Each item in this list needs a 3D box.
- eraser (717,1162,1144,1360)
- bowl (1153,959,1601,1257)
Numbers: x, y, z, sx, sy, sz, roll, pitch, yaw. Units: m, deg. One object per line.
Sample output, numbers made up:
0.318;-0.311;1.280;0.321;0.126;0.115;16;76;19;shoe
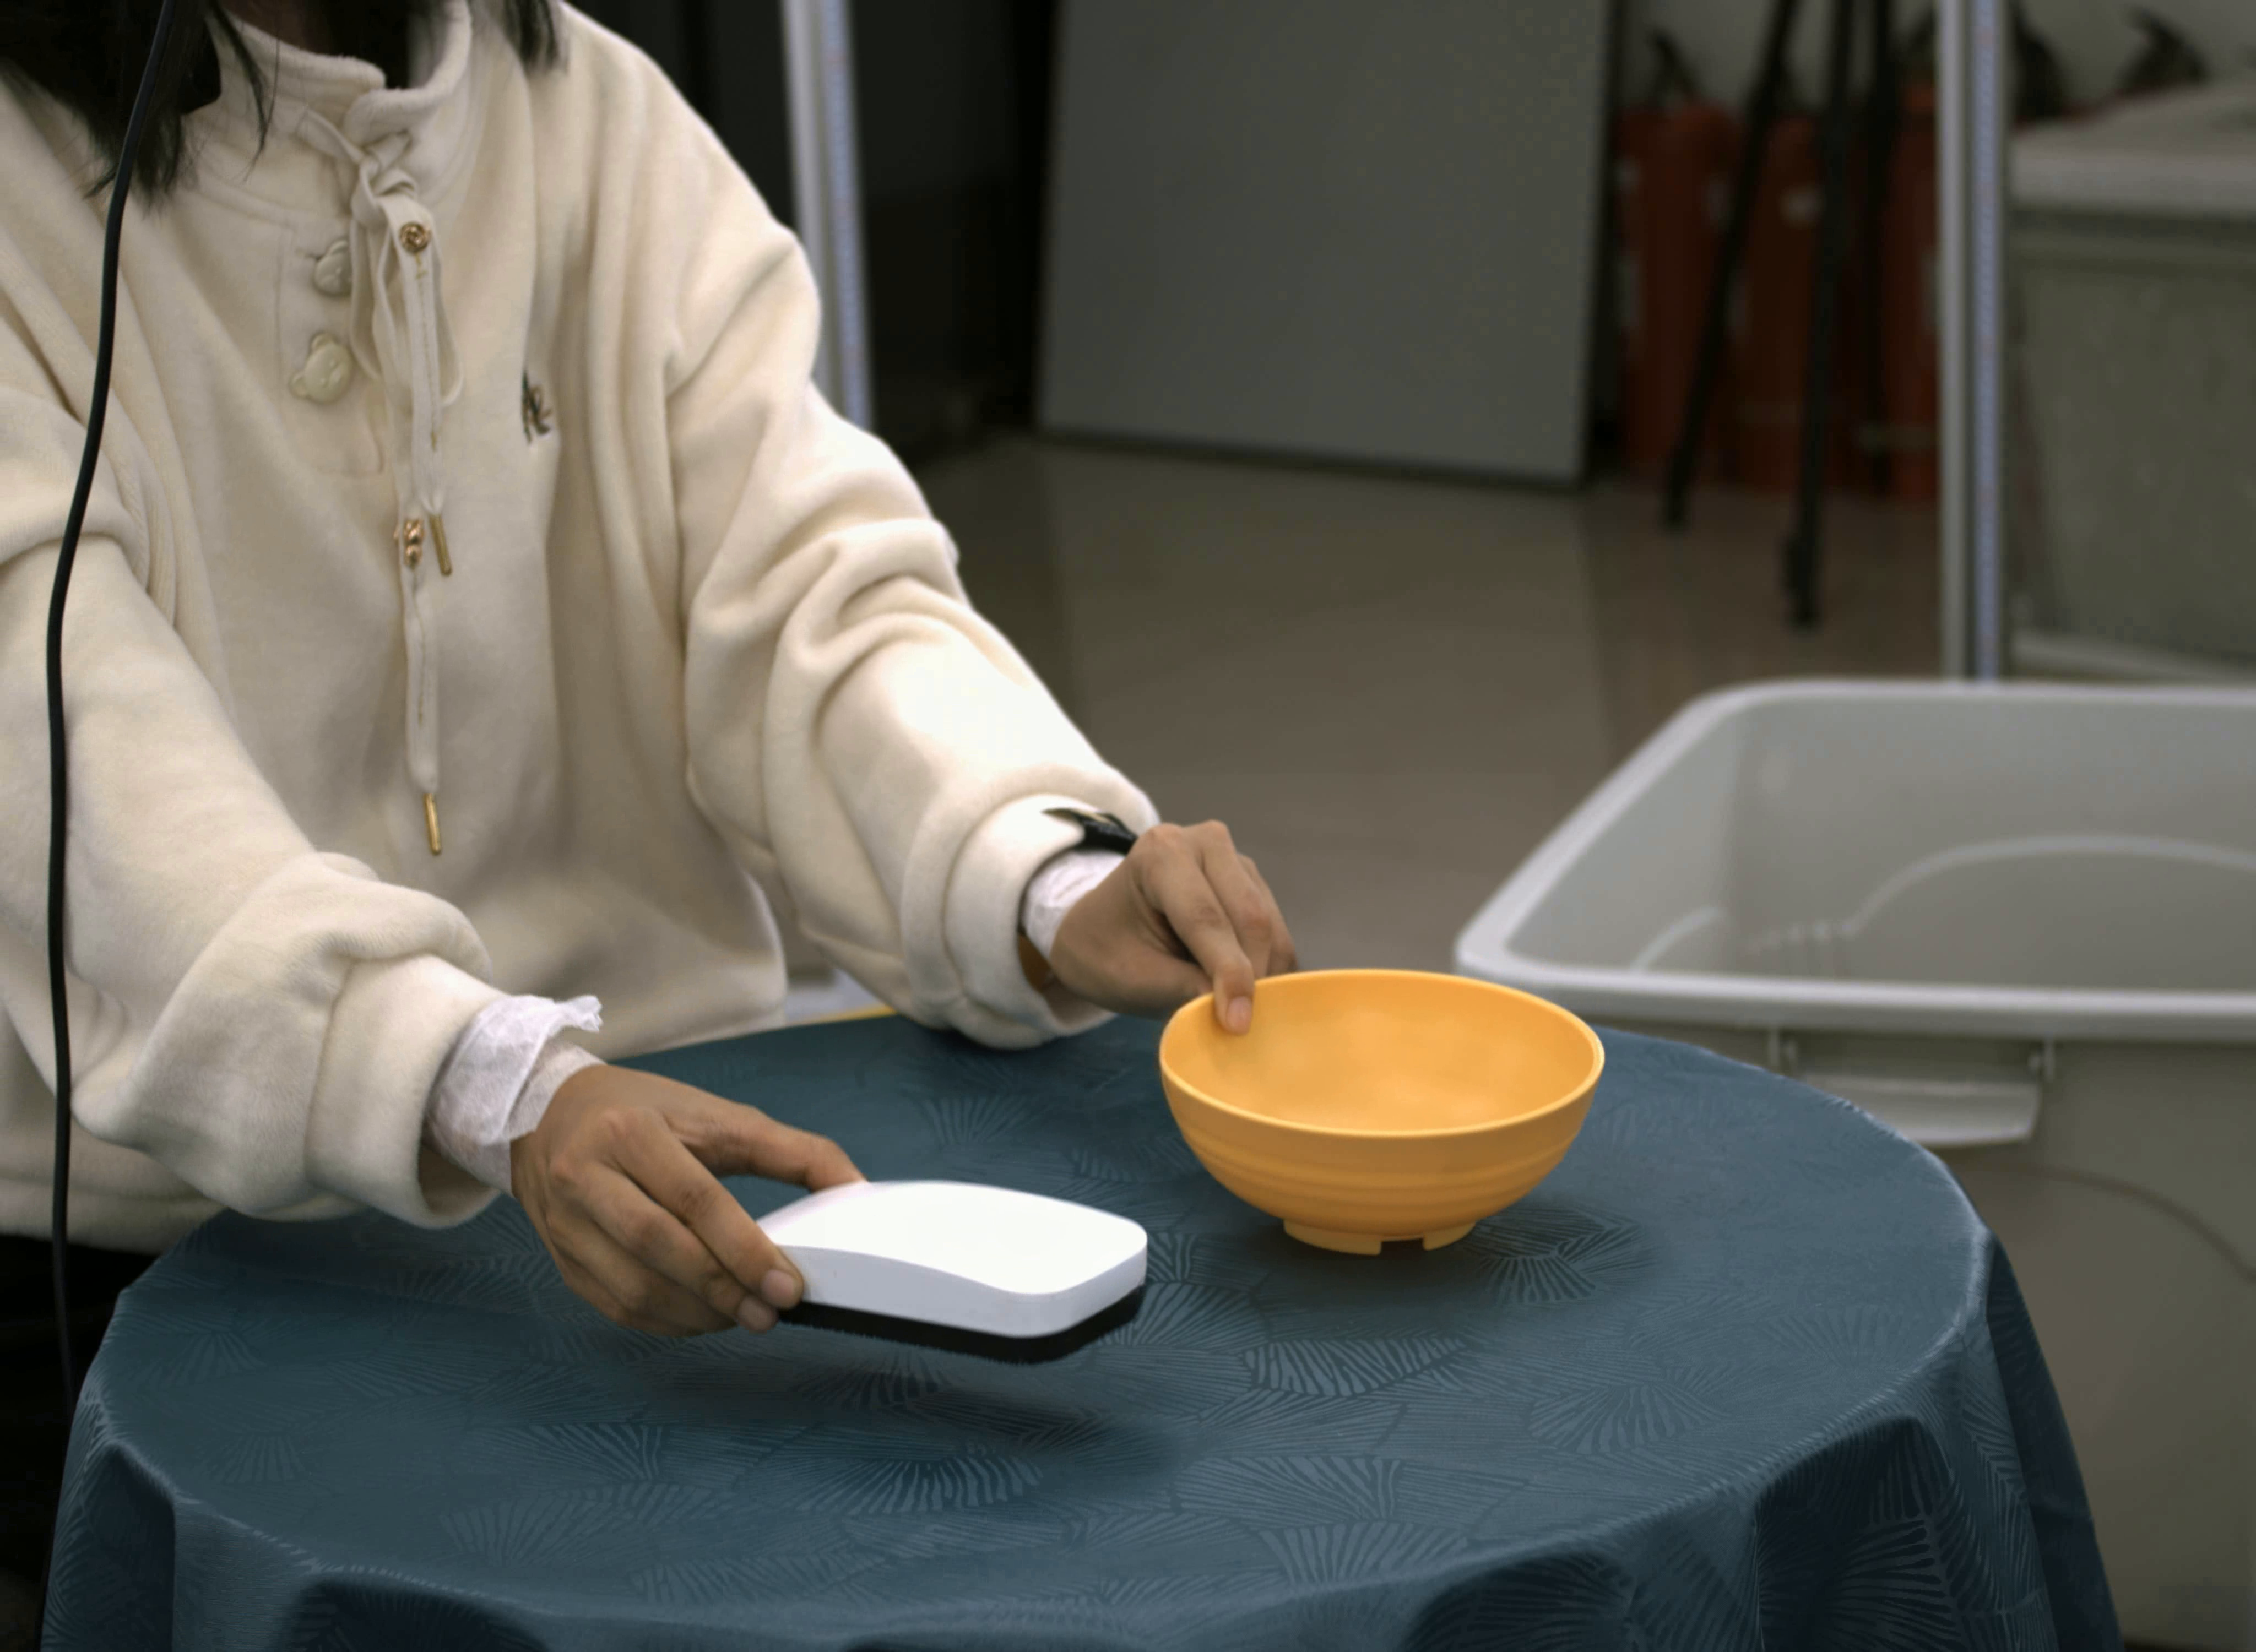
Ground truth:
-0.057;0.126;1.579;0.132;0.035;0.062;6;18;39;eraser
0.078;0.096;1.711;0.143;0.061;0.146;1;20;-1;bowl
